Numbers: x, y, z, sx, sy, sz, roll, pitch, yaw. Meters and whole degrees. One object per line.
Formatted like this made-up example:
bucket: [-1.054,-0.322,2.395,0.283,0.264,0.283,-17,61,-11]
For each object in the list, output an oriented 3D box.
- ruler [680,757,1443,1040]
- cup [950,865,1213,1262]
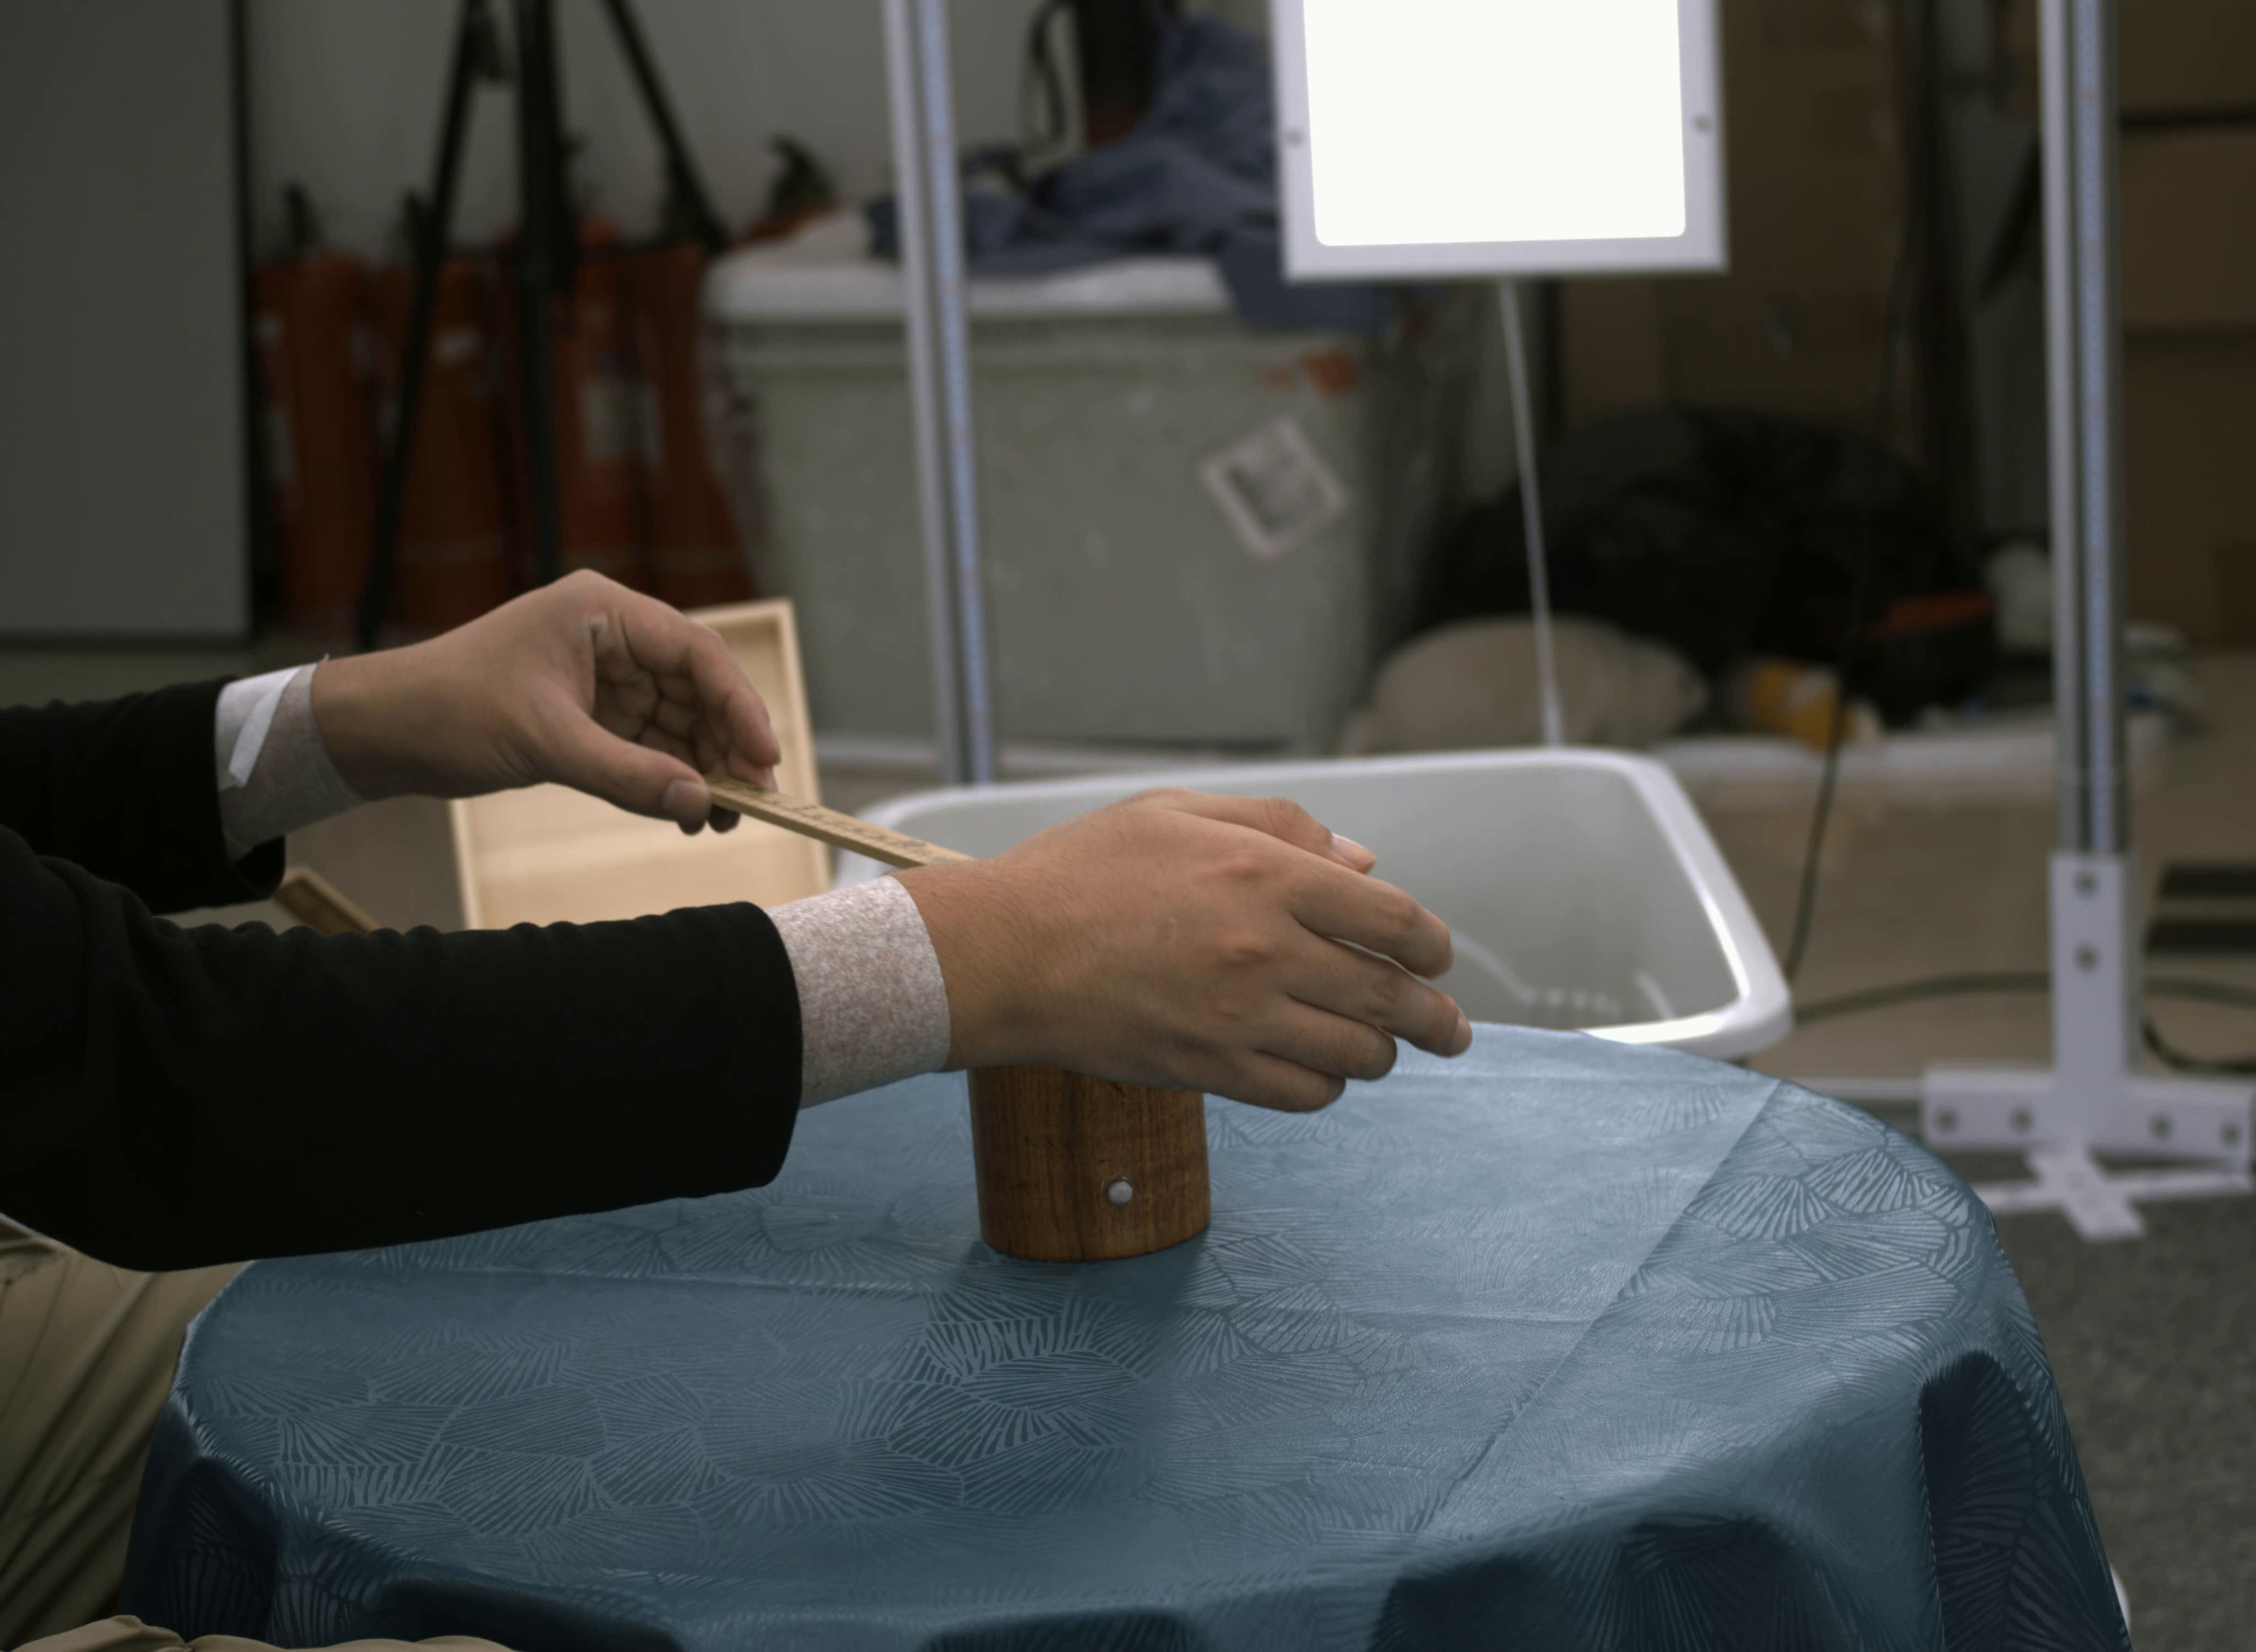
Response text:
ruler: [-0.028,0.020,1.812,0.338,0.022,0.027,19,11,42]
cup: [-0.014,0.079,1.852,0.087,0.119,0.087,-5,13,0]
